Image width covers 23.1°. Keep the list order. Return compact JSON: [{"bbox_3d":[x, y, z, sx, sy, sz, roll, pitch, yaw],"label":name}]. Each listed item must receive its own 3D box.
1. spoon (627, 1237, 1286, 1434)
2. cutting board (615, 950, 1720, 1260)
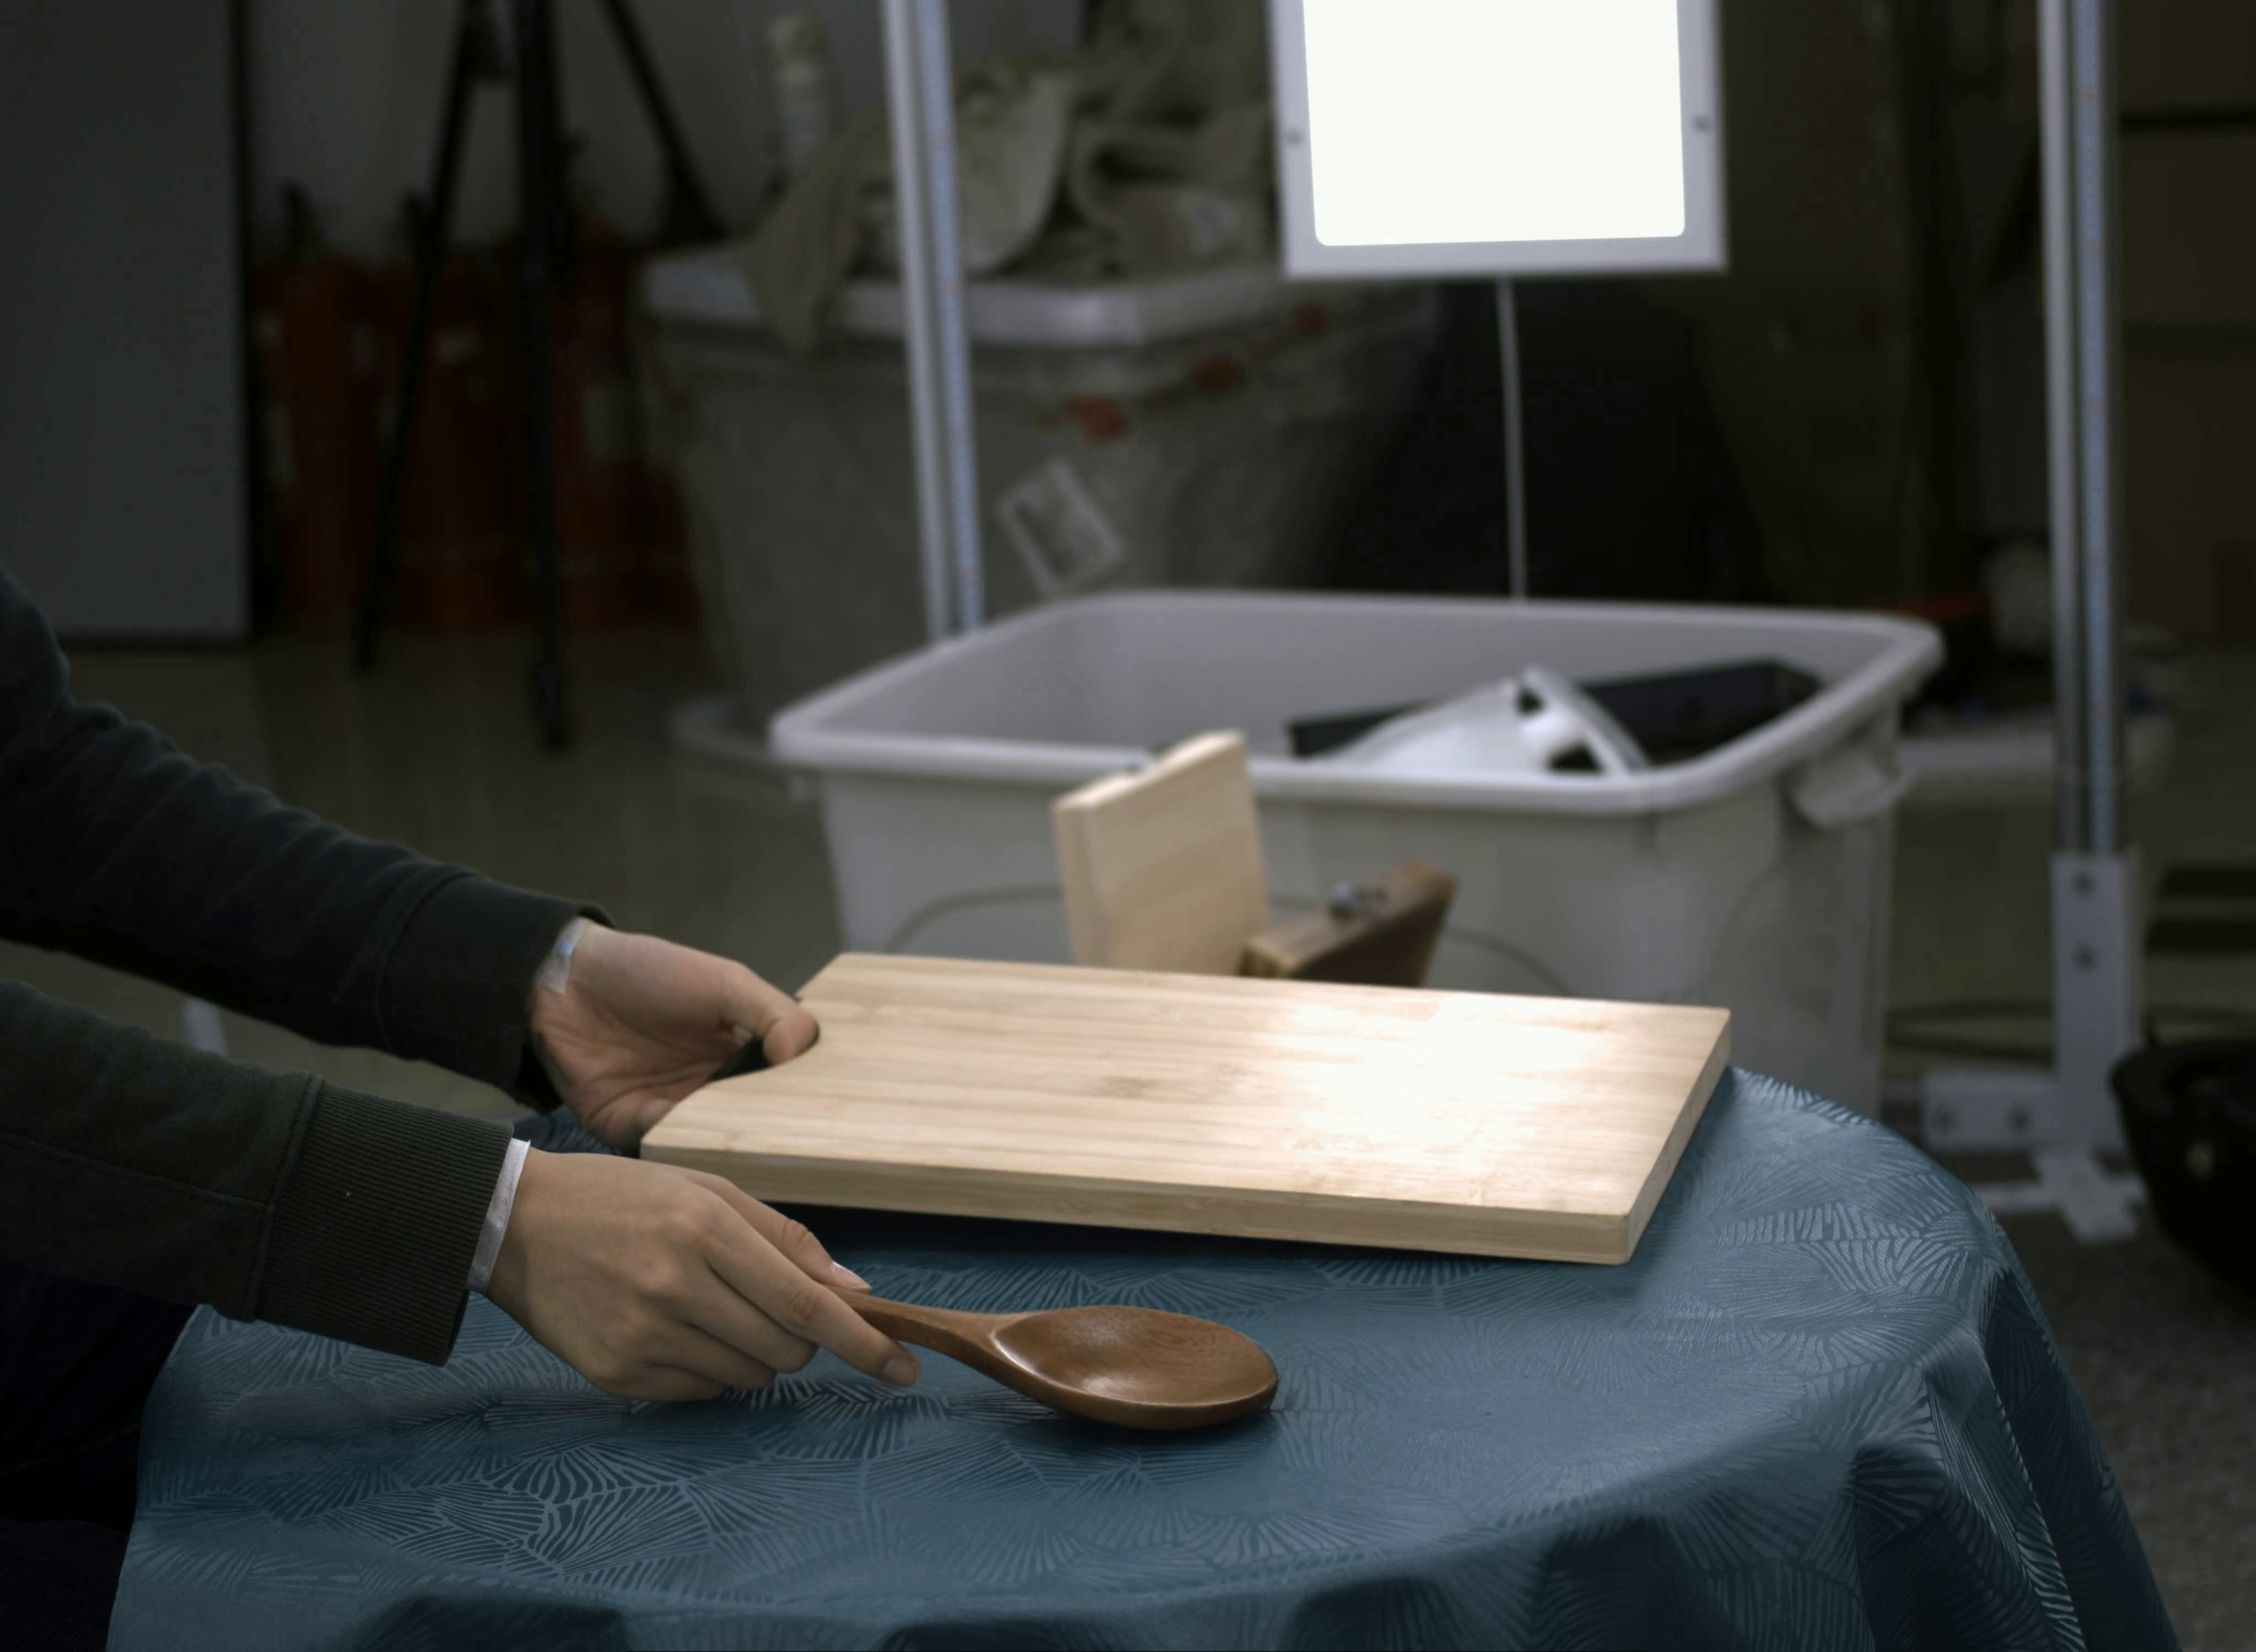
[{"bbox_3d":[-0.055,0.156,1.705,0.218,0.017,0.074,11,22,19],"label":"spoon"},{"bbox_3d":[0.021,0.095,1.934,0.352,0.024,0.247,3,15,15],"label":"cutting board"}]
